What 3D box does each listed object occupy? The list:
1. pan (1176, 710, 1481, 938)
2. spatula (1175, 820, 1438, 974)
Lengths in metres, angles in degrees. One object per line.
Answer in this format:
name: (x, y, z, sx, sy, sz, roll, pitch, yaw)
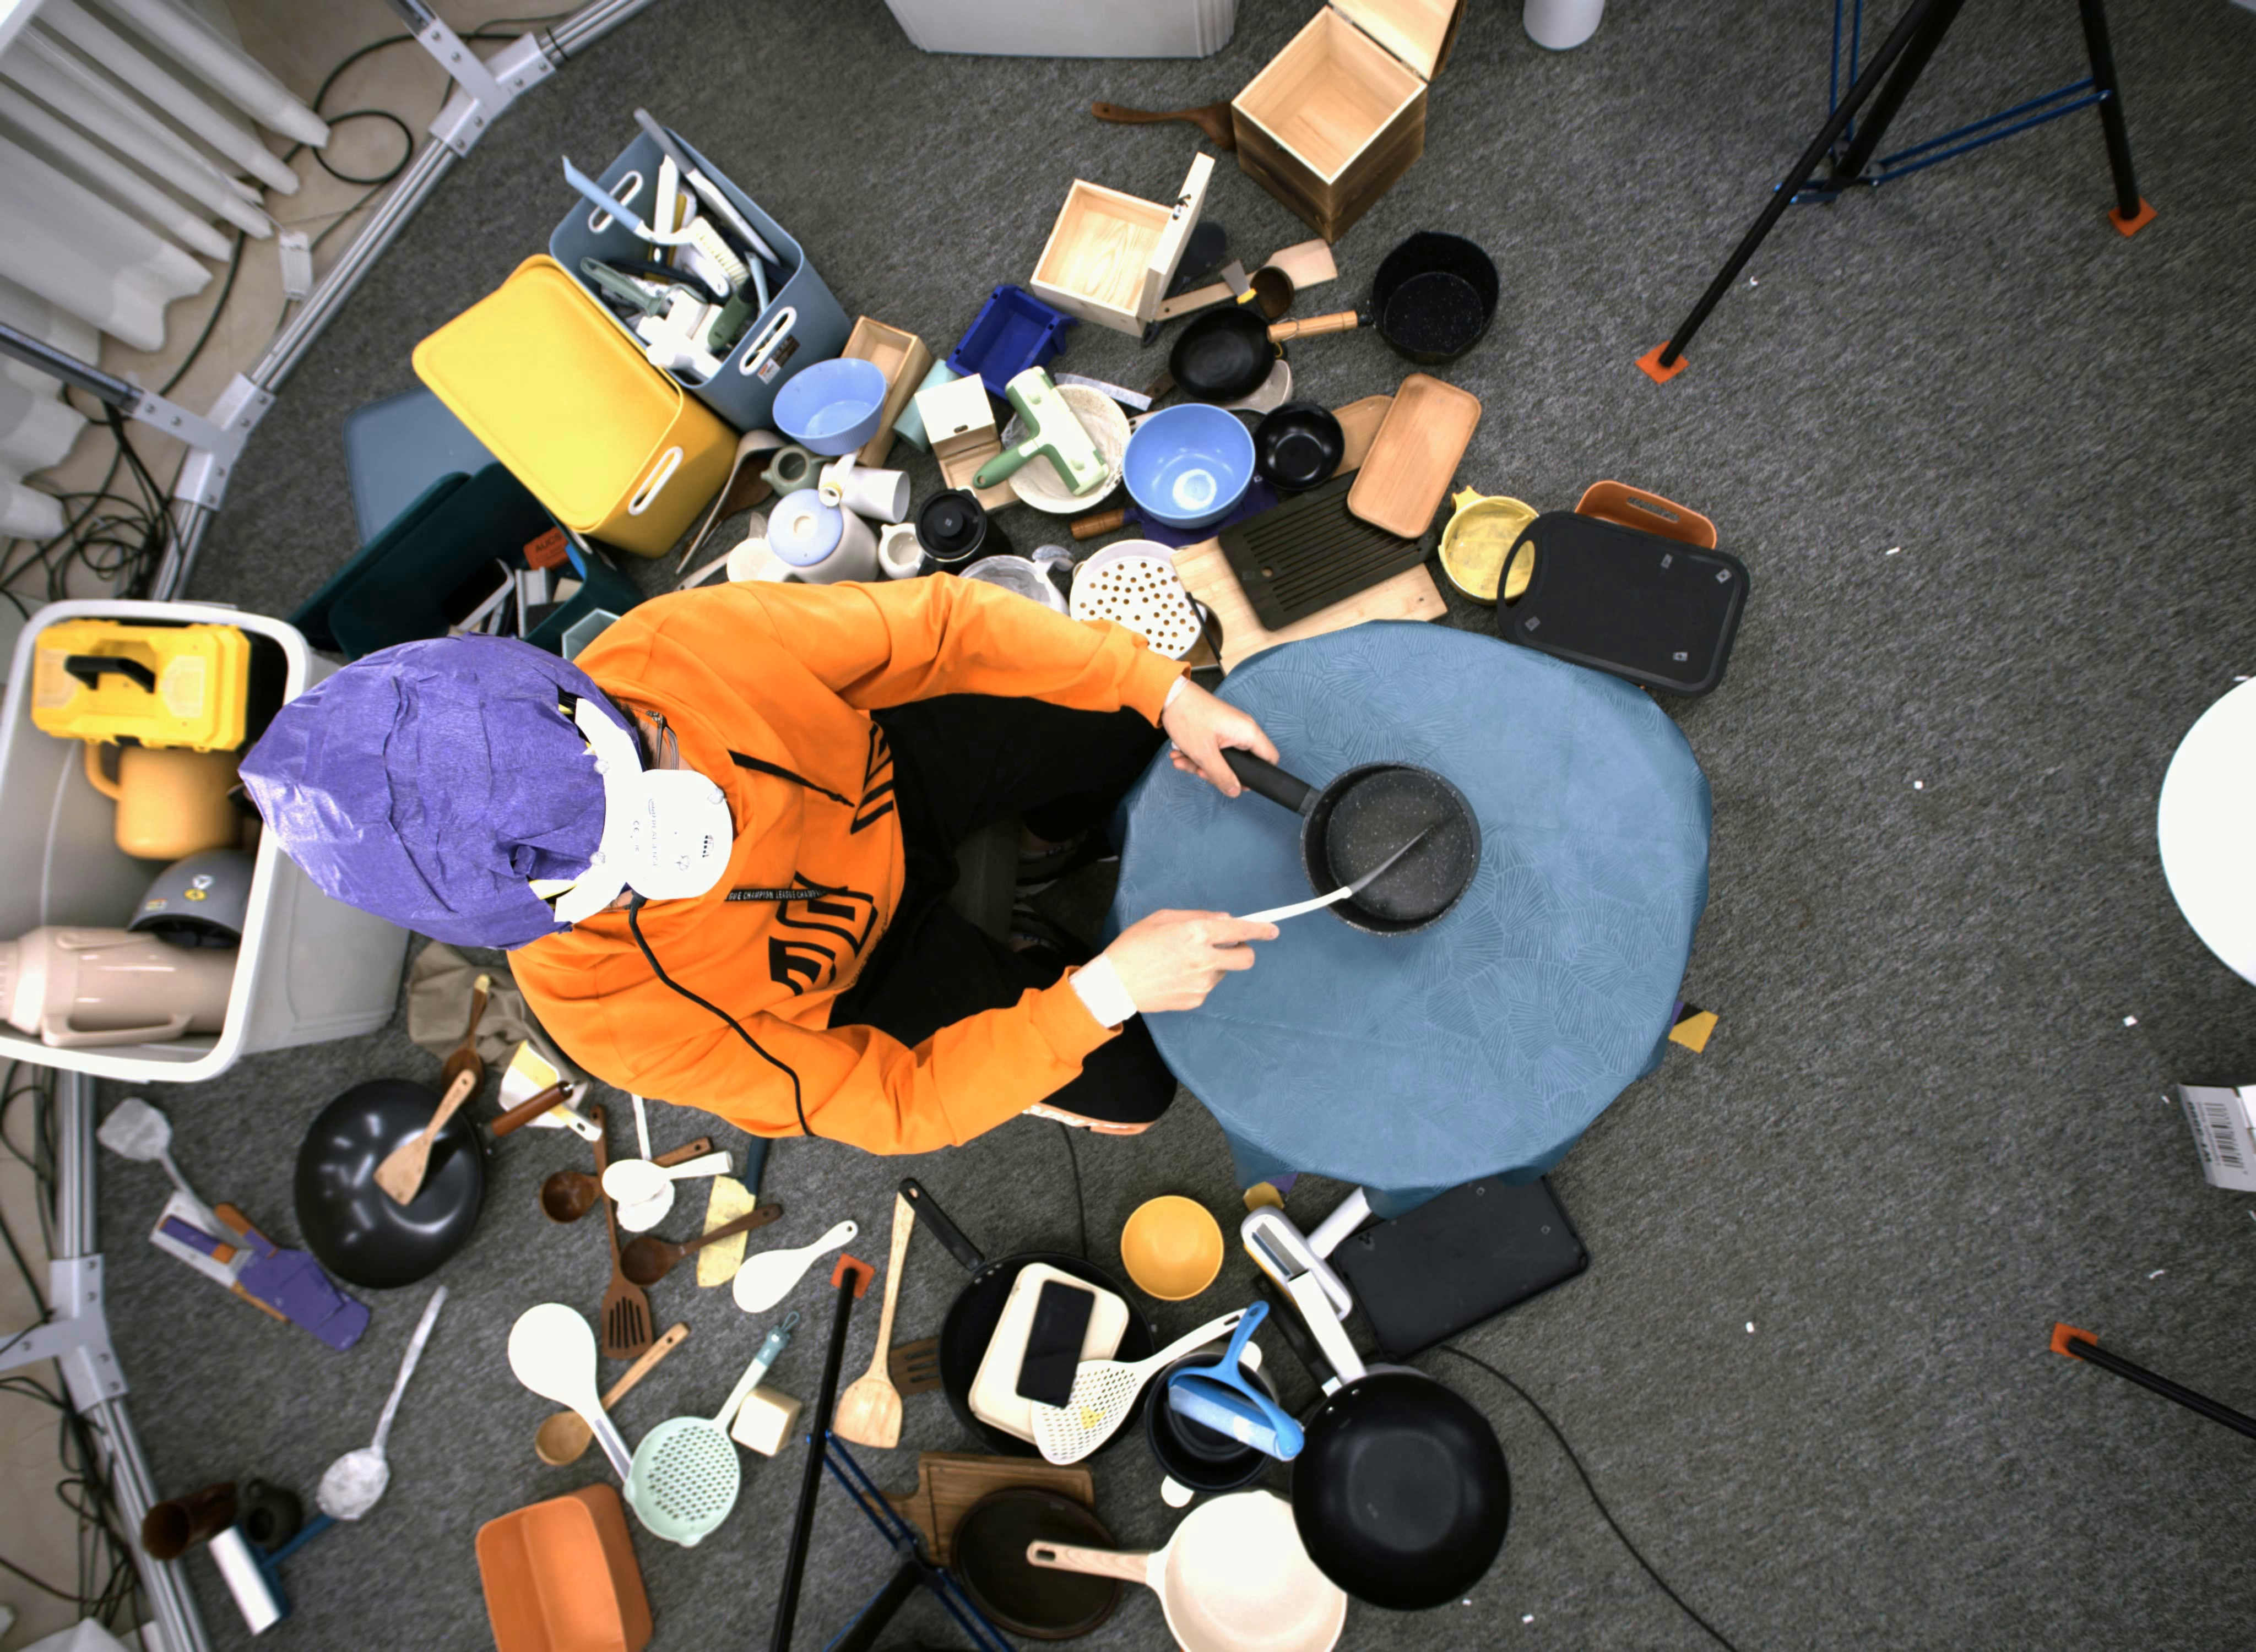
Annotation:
pan: (0.197, -0.020, 1.384, 0.327, 0.086, 0.174, 32, 105, 15)
spatula: (0.177, 0.065, 1.323, 0.285, 0.059, 0.032, -25, 77, -13)
